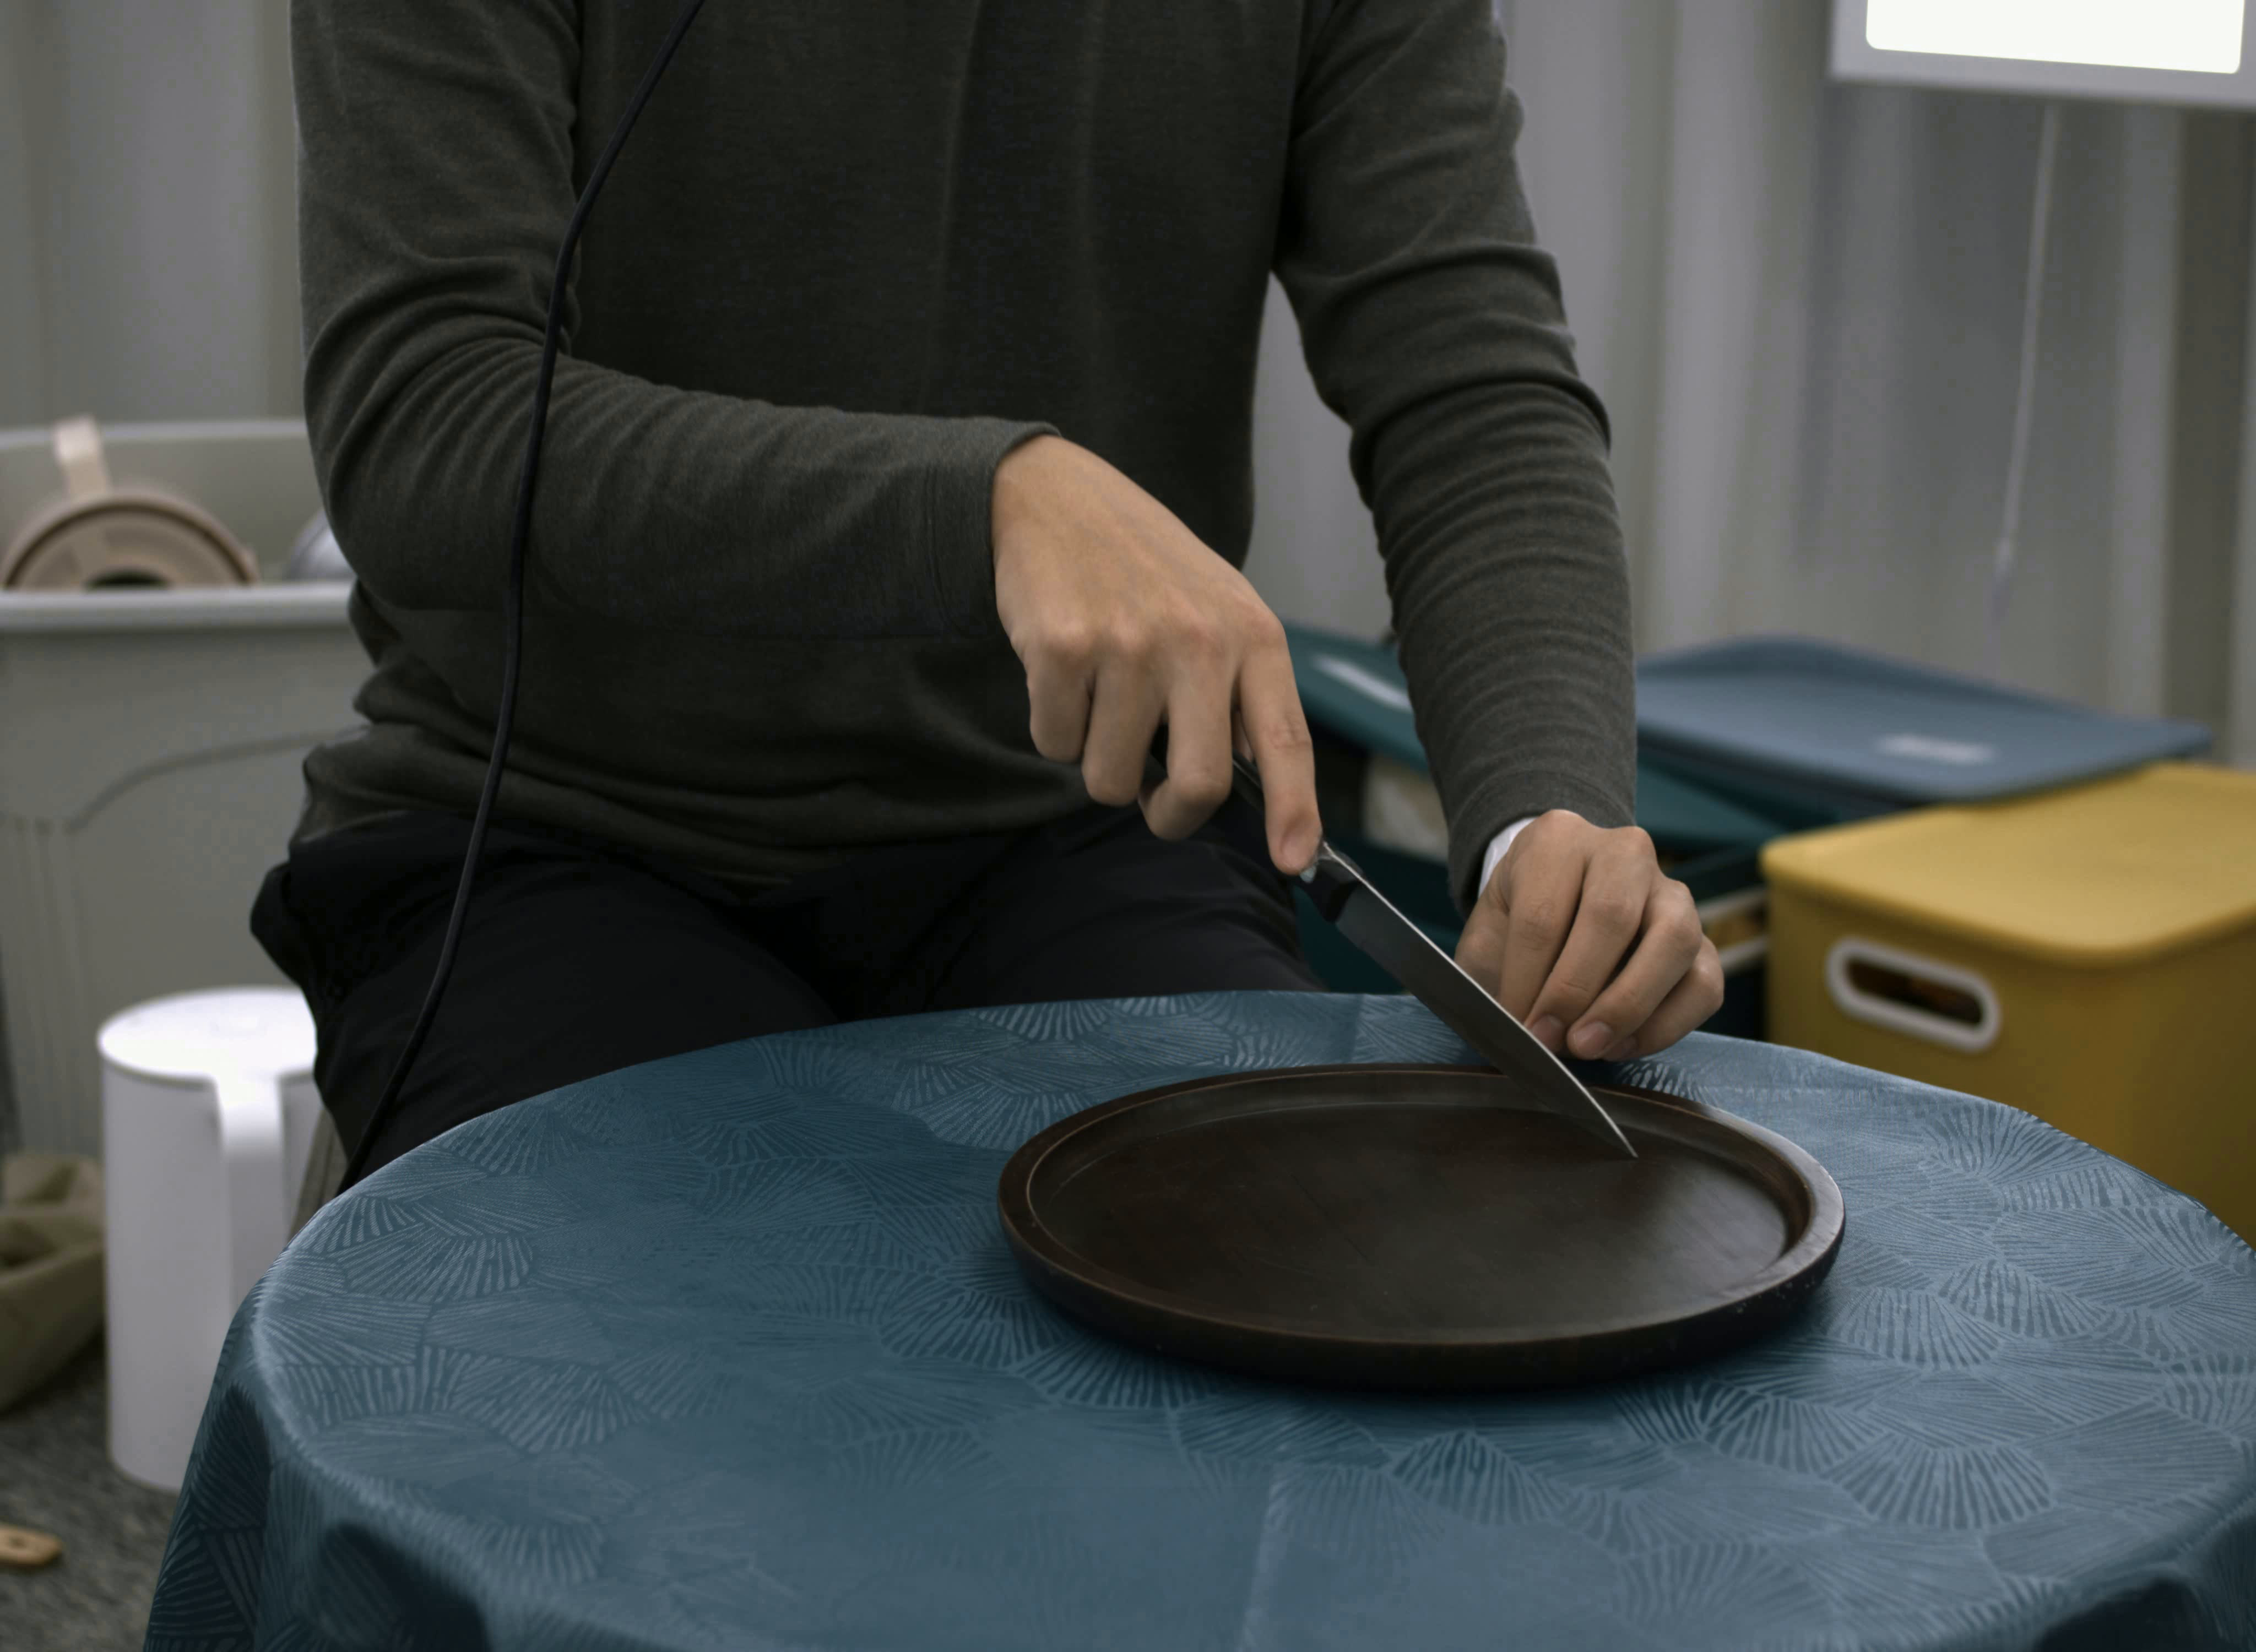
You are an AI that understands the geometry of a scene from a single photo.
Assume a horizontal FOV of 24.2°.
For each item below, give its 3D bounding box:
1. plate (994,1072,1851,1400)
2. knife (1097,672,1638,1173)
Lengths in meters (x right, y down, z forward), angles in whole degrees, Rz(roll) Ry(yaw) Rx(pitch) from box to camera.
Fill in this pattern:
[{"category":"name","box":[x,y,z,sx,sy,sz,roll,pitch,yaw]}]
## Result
[{"category":"plate","box":[0.087,0.118,1.565,0.254,0.029,0.253,2,16,0]},{"category":"knife","box":[0.077,0.028,1.658,0.236,0.024,0.016,43,32,19]}]
